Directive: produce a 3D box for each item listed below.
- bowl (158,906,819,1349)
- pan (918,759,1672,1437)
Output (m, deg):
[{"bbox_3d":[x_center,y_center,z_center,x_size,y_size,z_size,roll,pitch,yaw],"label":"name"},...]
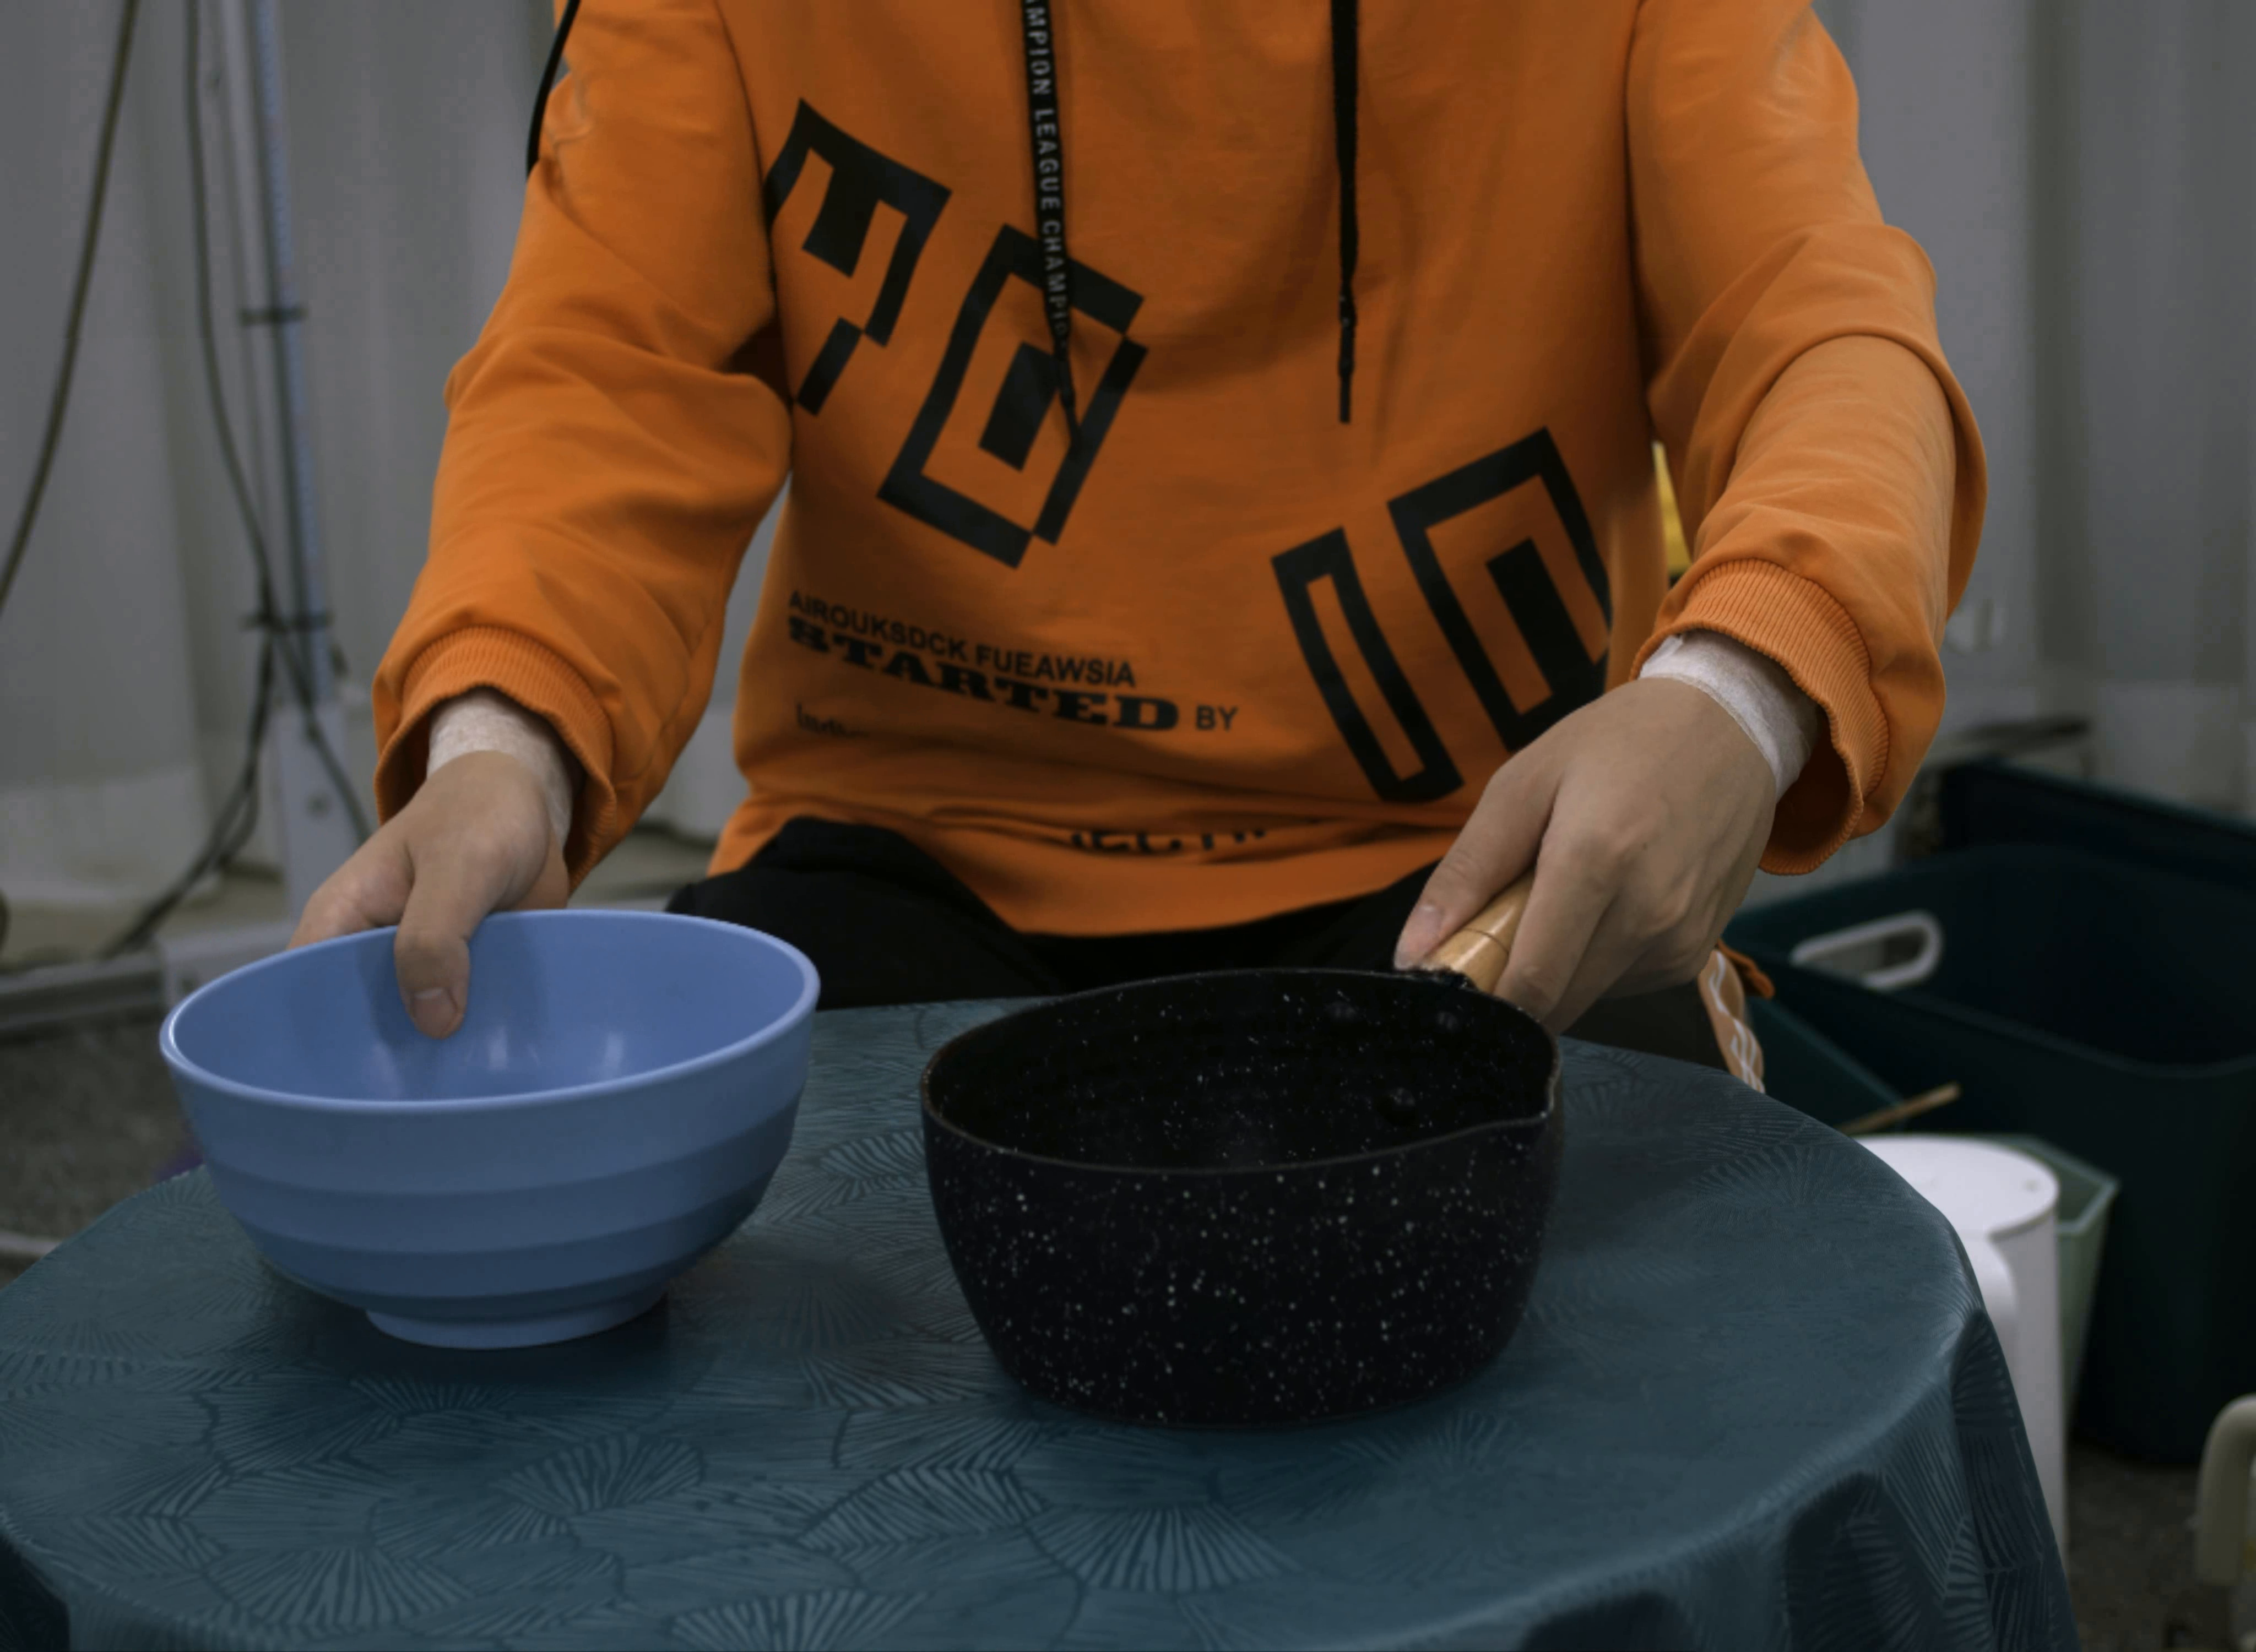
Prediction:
[{"bbox_3d":[-0.187,0.096,1.637,0.196,0.095,0.198,-4,15,1],"label":"bowl"},{"bbox_3d":[0.075,0.076,1.631,0.208,0.108,0.343,5,19,31],"label":"pan"}]
